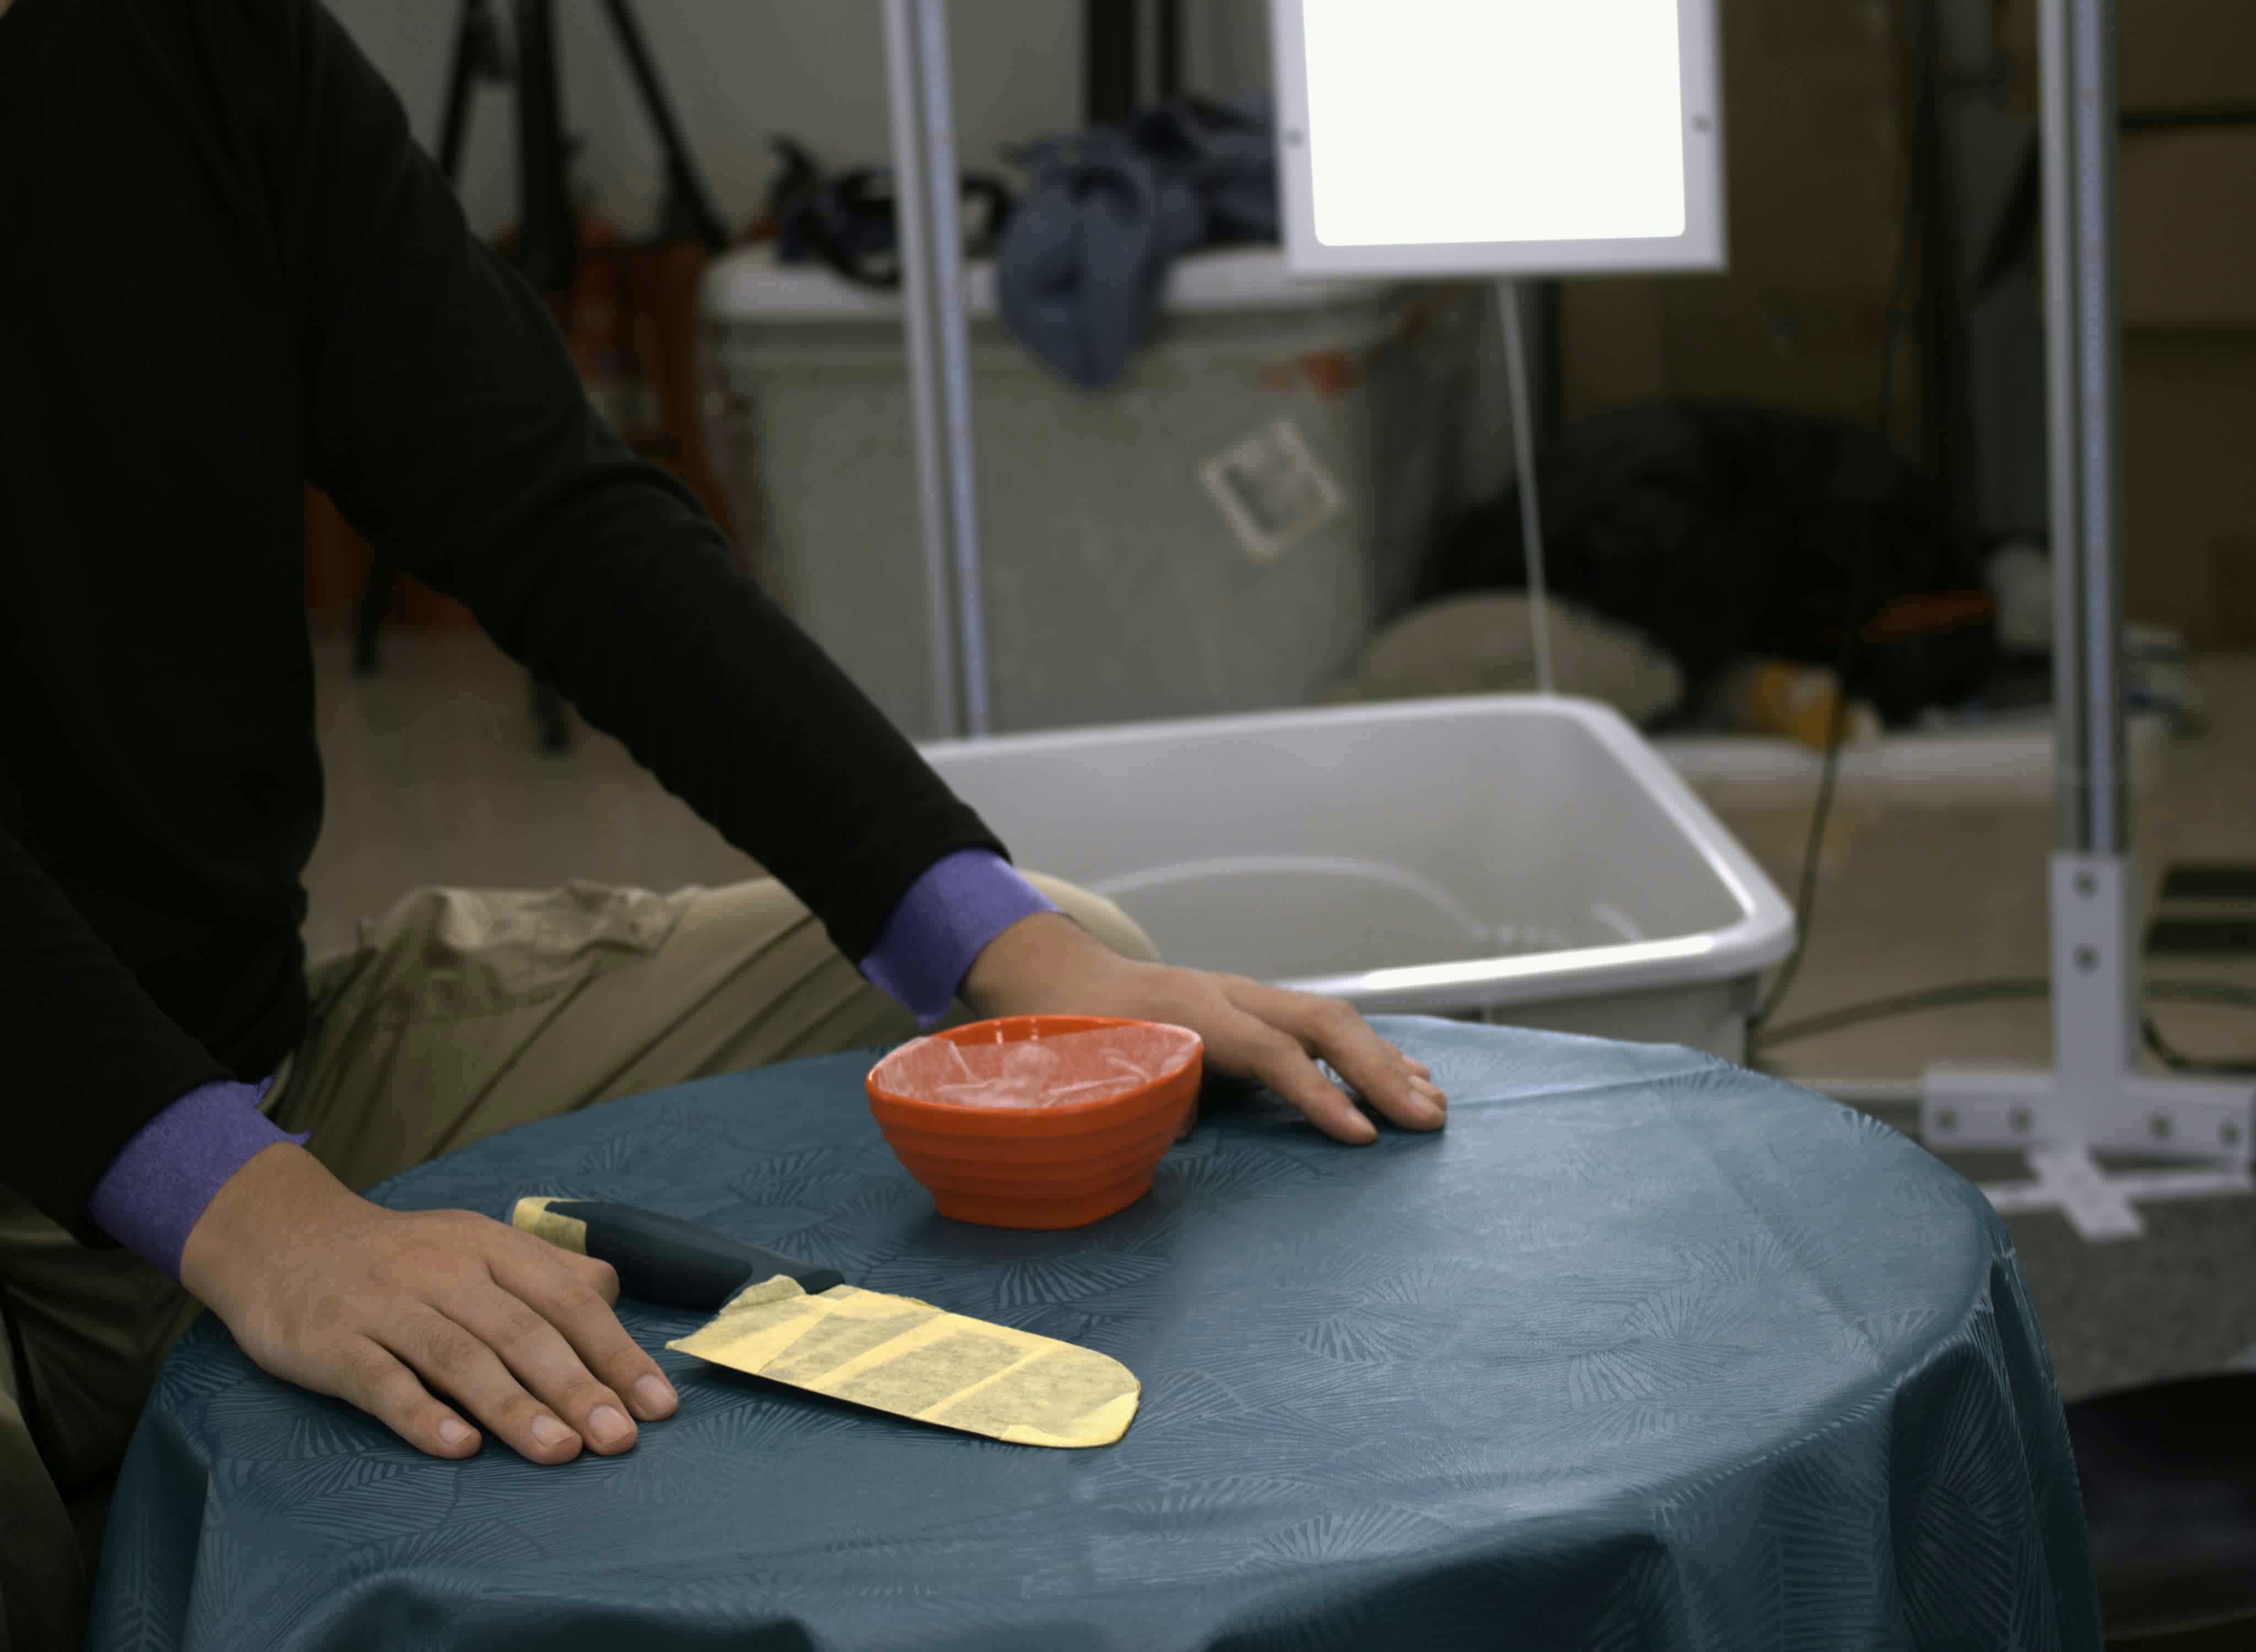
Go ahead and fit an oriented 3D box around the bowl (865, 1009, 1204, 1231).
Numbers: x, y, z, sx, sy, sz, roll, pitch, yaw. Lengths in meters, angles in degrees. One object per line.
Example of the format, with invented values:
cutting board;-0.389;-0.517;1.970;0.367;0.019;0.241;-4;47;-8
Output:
bowl;-0.030;0.103;1.895;0.118;0.051;0.119;-5;16;0

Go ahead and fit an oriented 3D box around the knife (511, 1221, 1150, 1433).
knife;-0.105;0.162;1.765;0.296;0.027;0.079;9;18;43
